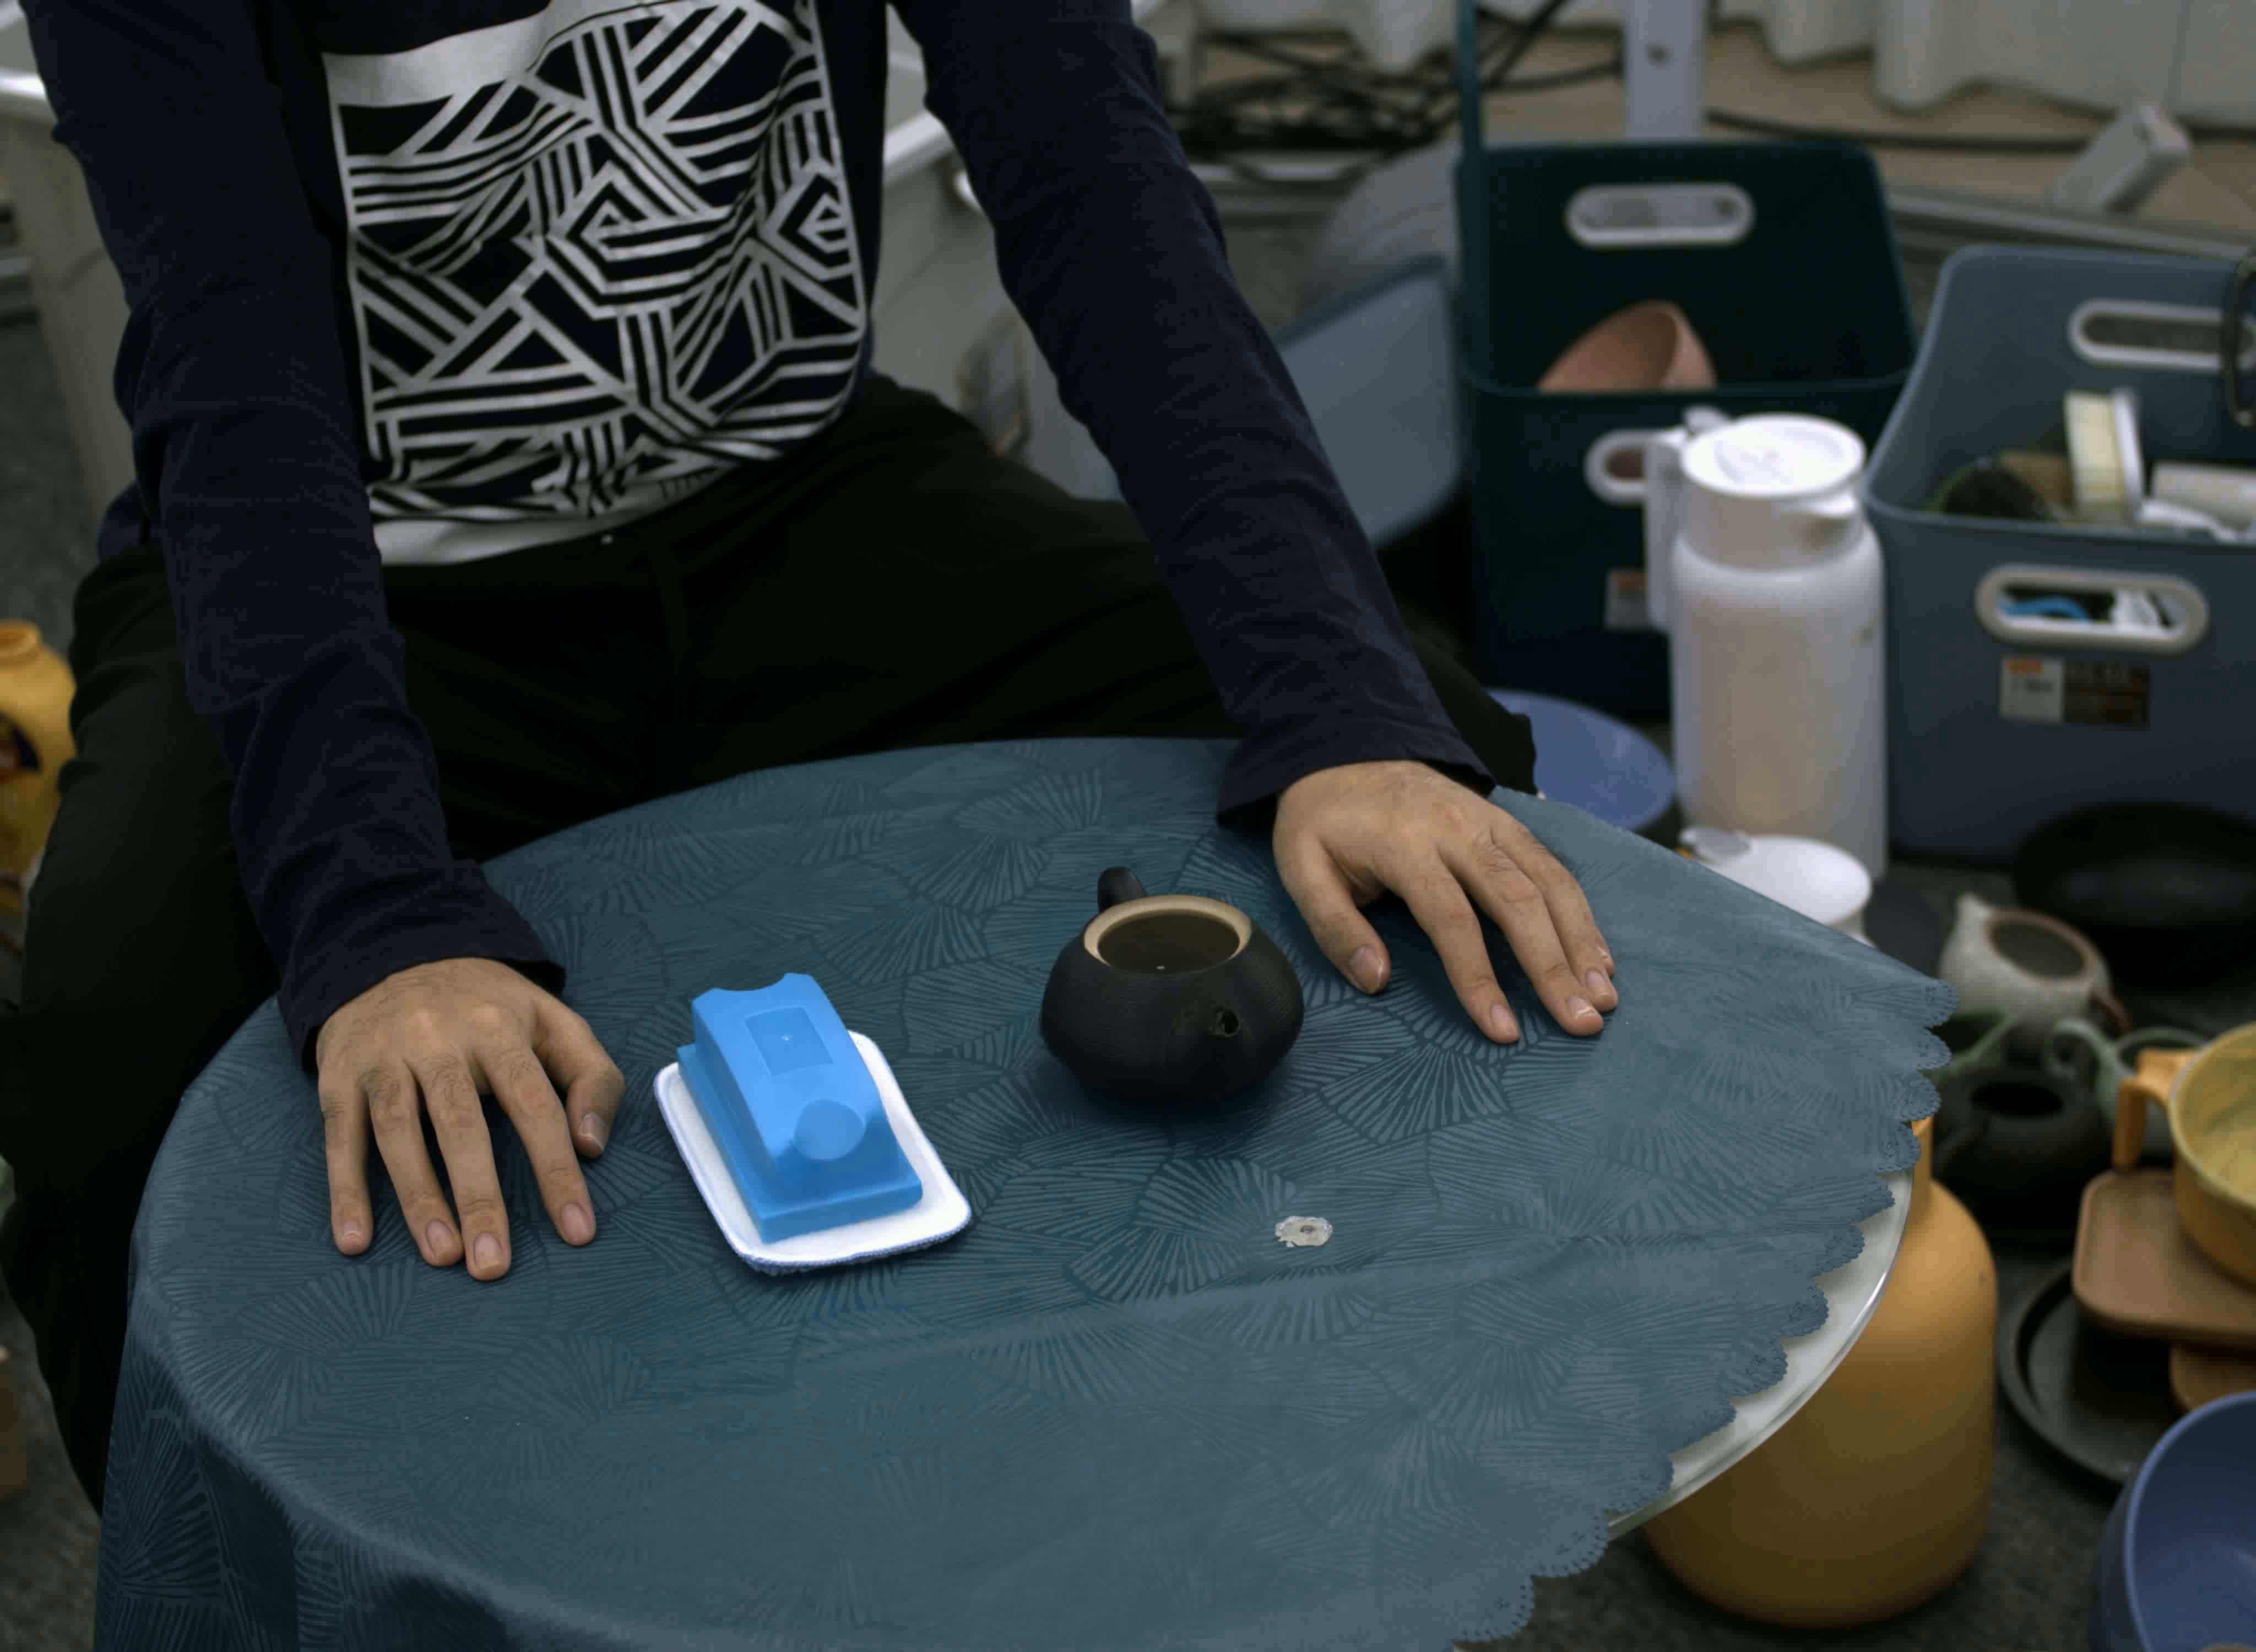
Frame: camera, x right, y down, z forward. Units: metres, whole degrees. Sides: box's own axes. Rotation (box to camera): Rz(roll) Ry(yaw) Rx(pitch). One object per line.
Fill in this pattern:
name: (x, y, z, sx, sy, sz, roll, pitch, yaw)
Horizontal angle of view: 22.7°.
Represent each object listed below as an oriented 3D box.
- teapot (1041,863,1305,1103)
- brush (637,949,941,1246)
teapot: (0.015, 0.059, 1.919, 0.091, 0.052, 0.134, -10, 29, -15)
brush: (-0.112, 0.086, 1.872, 0.084, 0.055, 0.145, -6, 30, -15)
